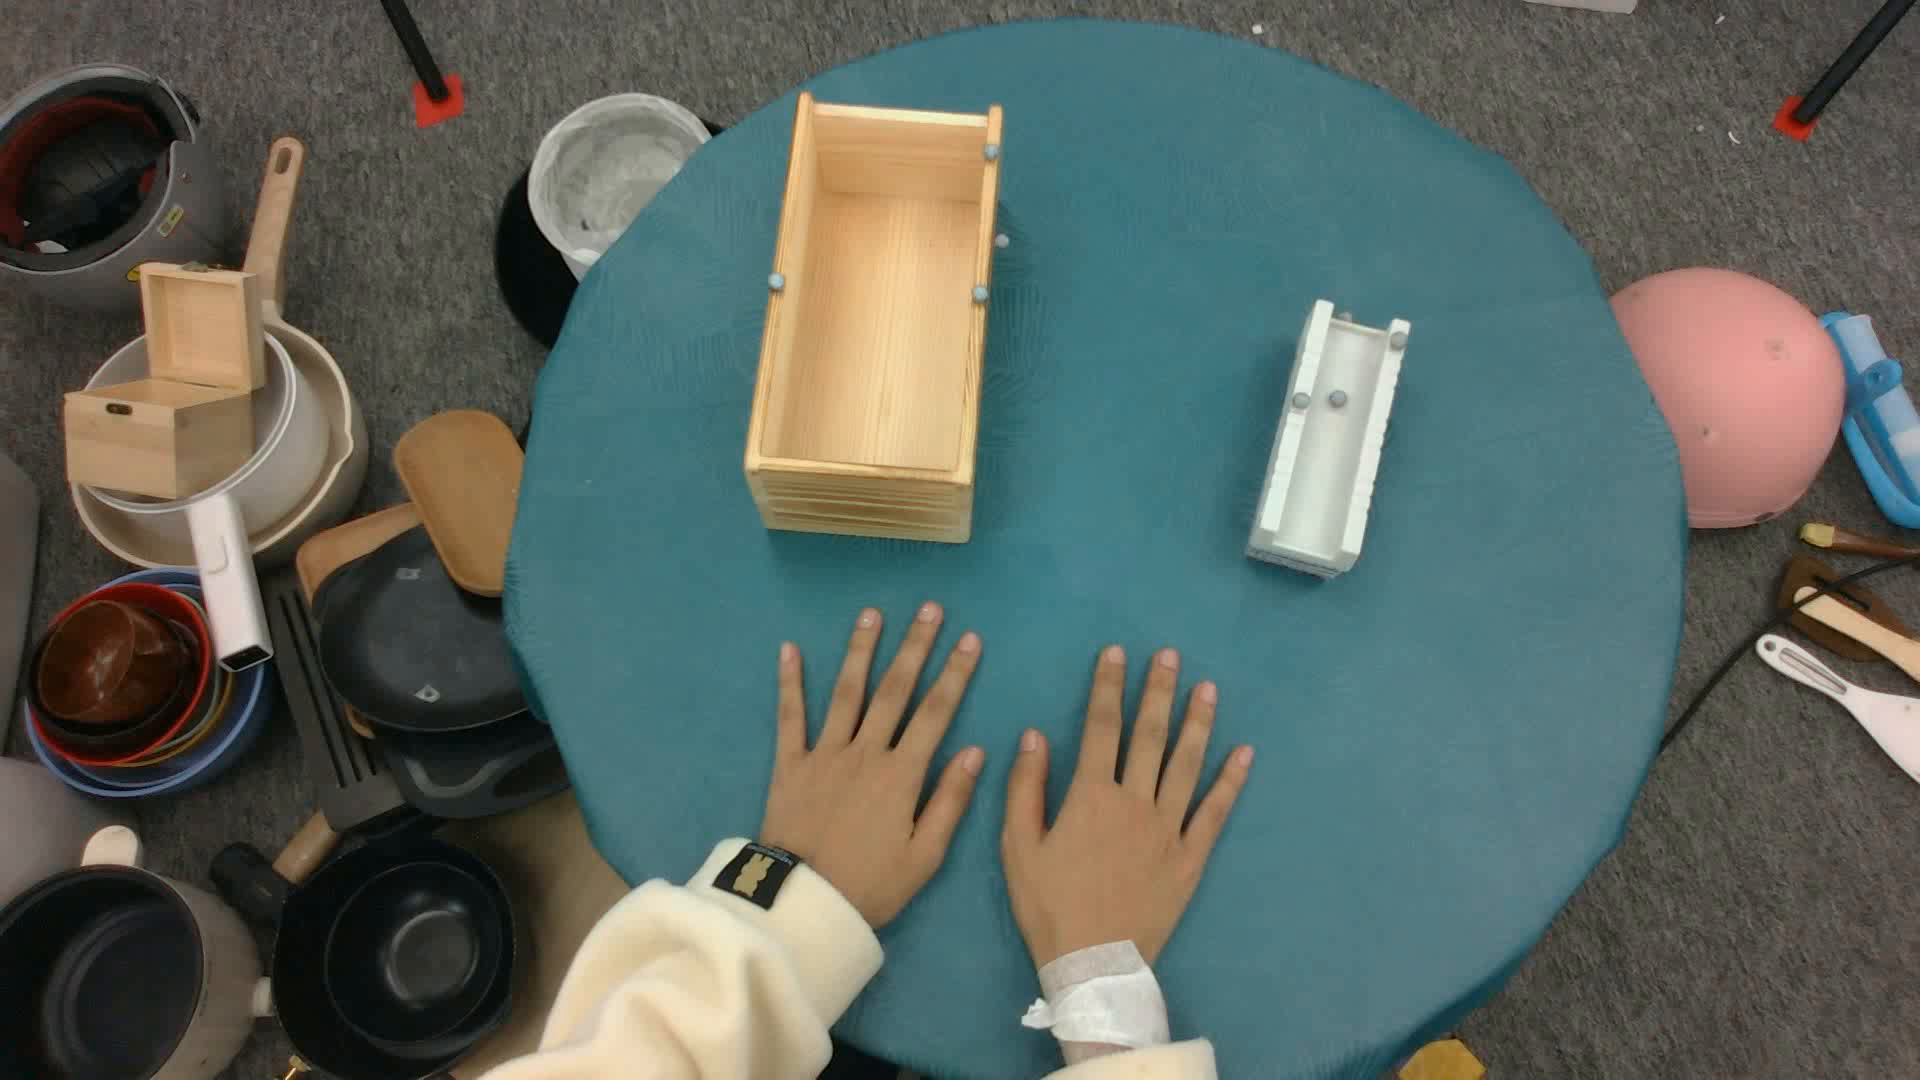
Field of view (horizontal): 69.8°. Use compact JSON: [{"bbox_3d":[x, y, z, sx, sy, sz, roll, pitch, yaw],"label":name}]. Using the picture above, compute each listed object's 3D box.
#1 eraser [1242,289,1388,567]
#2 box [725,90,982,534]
[{"bbox_3d":[0.179,-0.057,0.700,0.050,0.046,0.135,14,68,3],"label":"eraser"},{"bbox_3d":[-0.048,-0.117,0.702,0.107,0.080,0.212,3,68,1],"label":"box"}]
